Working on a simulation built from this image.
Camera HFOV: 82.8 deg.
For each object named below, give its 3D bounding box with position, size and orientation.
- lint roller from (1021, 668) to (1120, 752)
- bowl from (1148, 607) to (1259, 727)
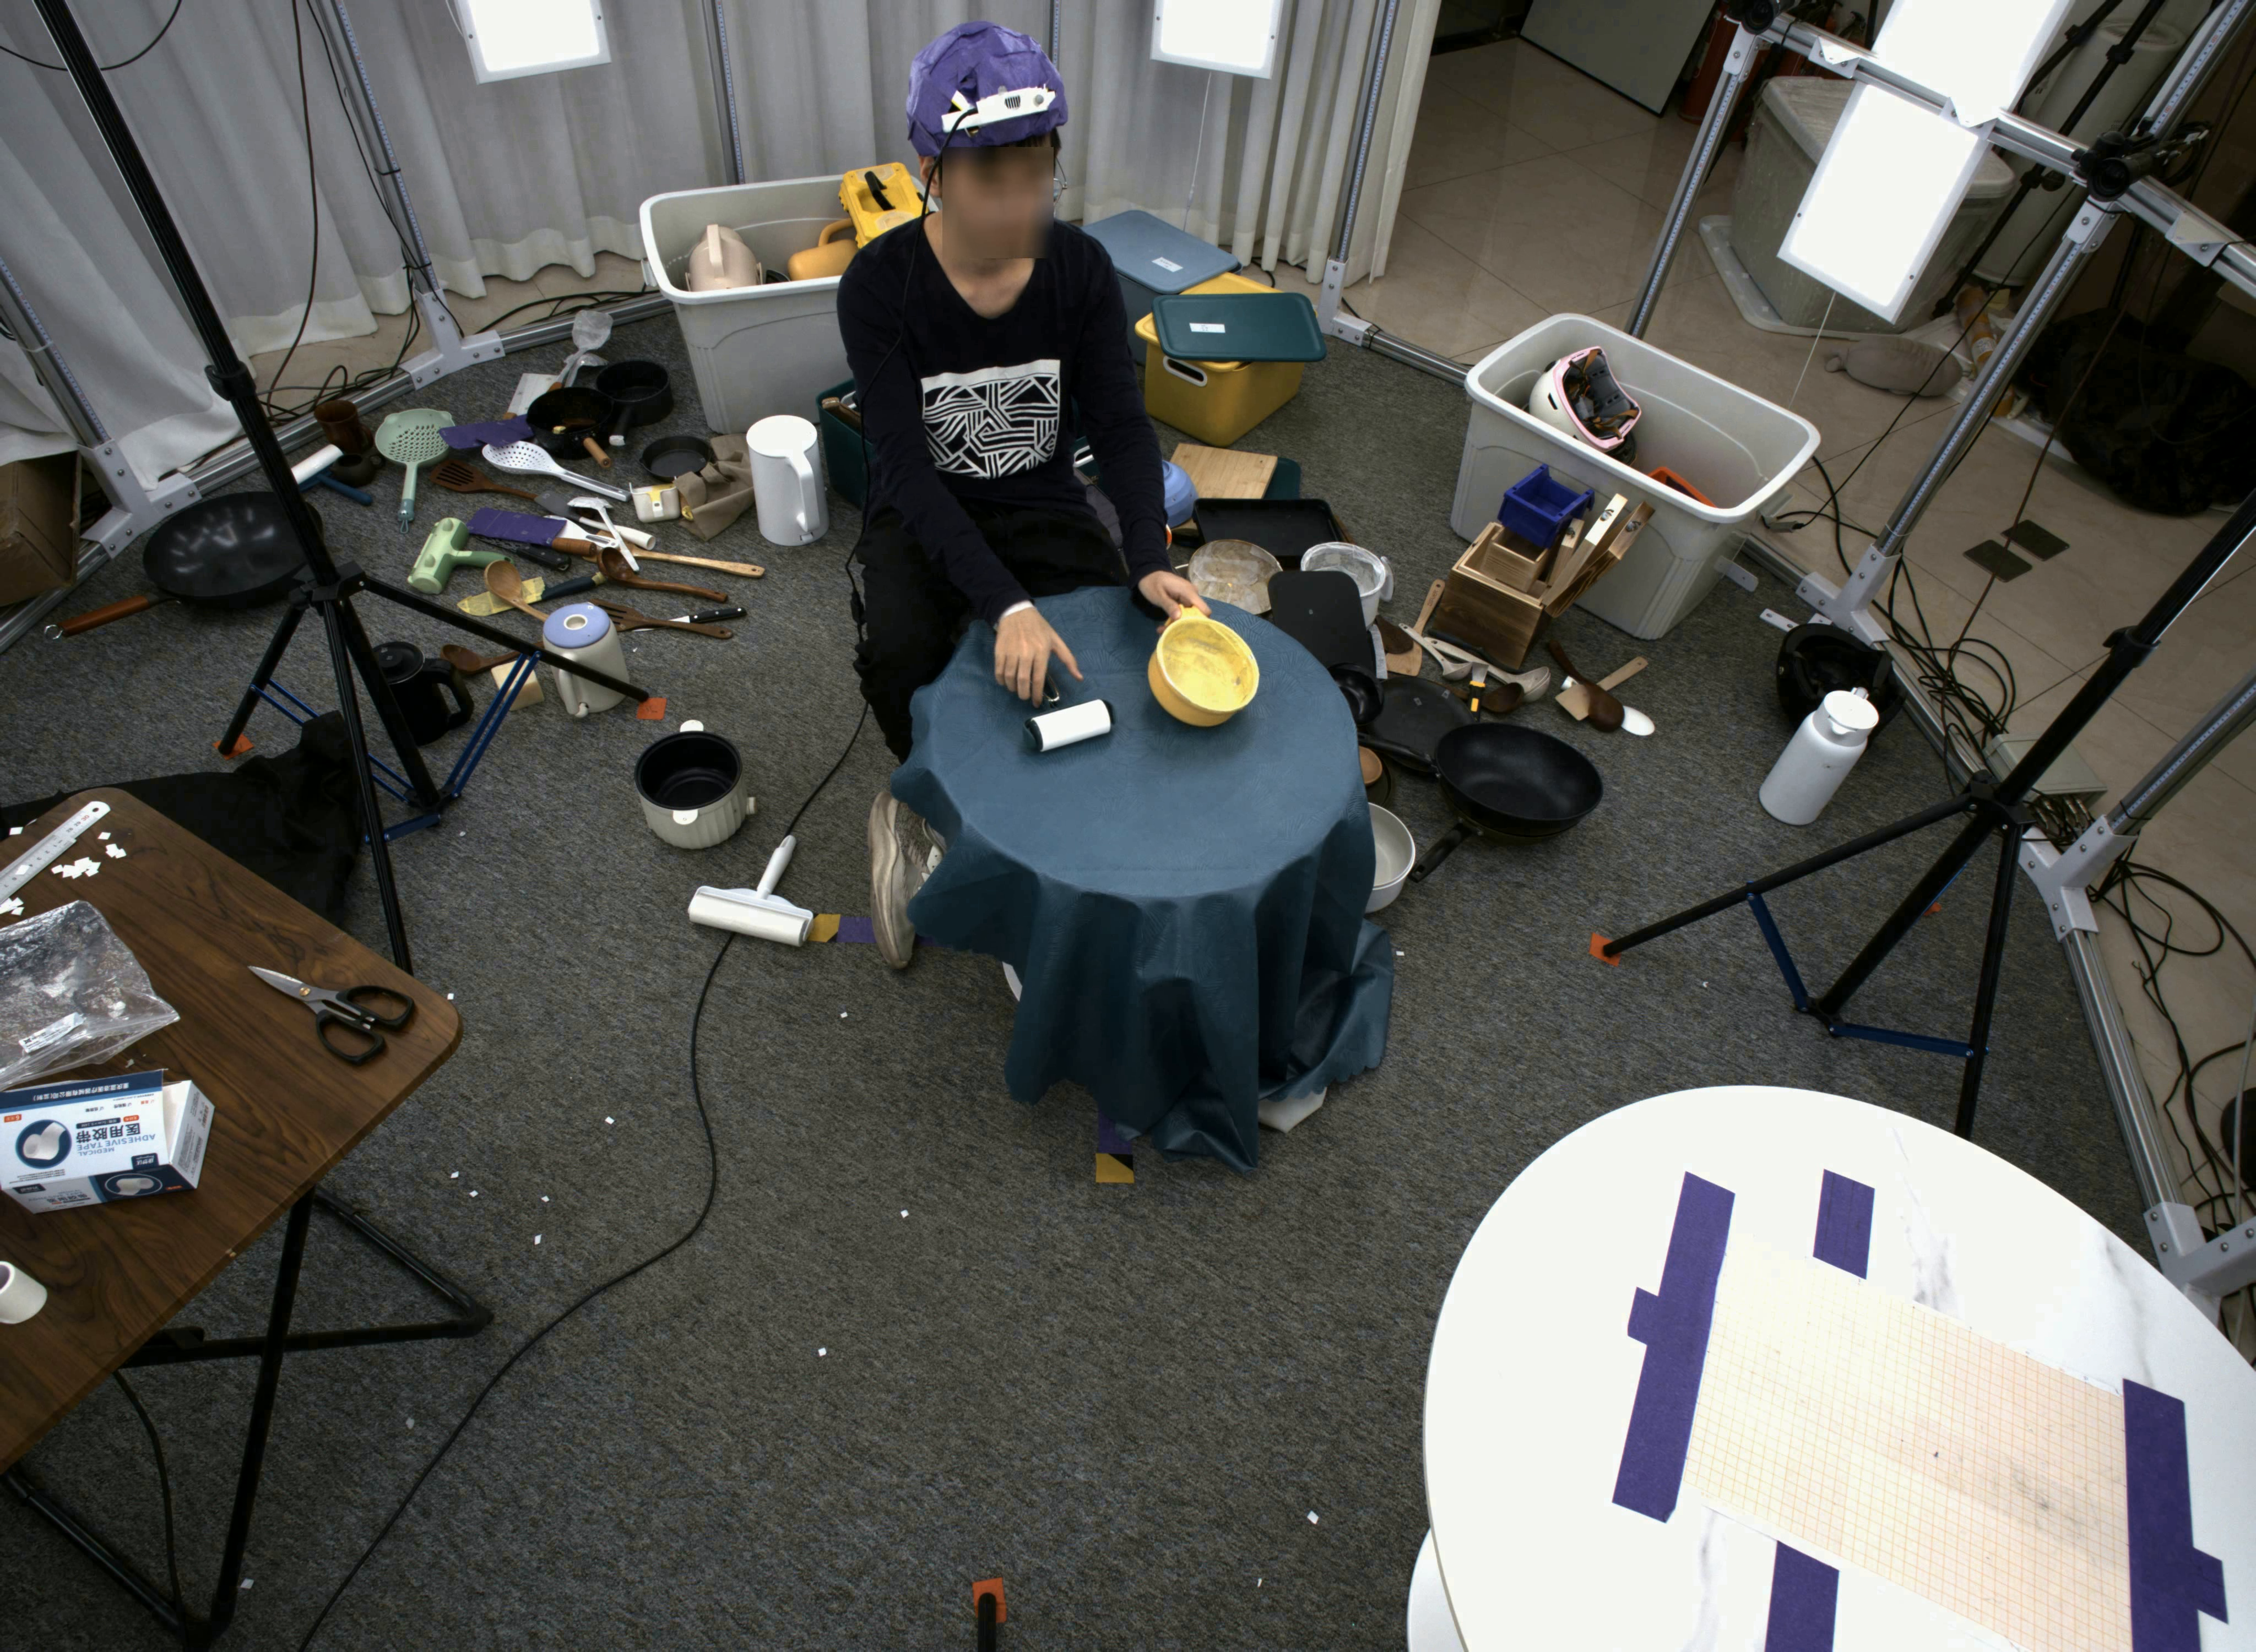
[{"bbox_3d":[-0.107,-0.182,1.794,0.134,0.047,0.184,-18,48,-18],"label":"lint roller"},{"bbox_3d":[0.097,-0.222,1.800,0.153,0.073,0.182,-12,68,-28],"label":"bowl"}]
